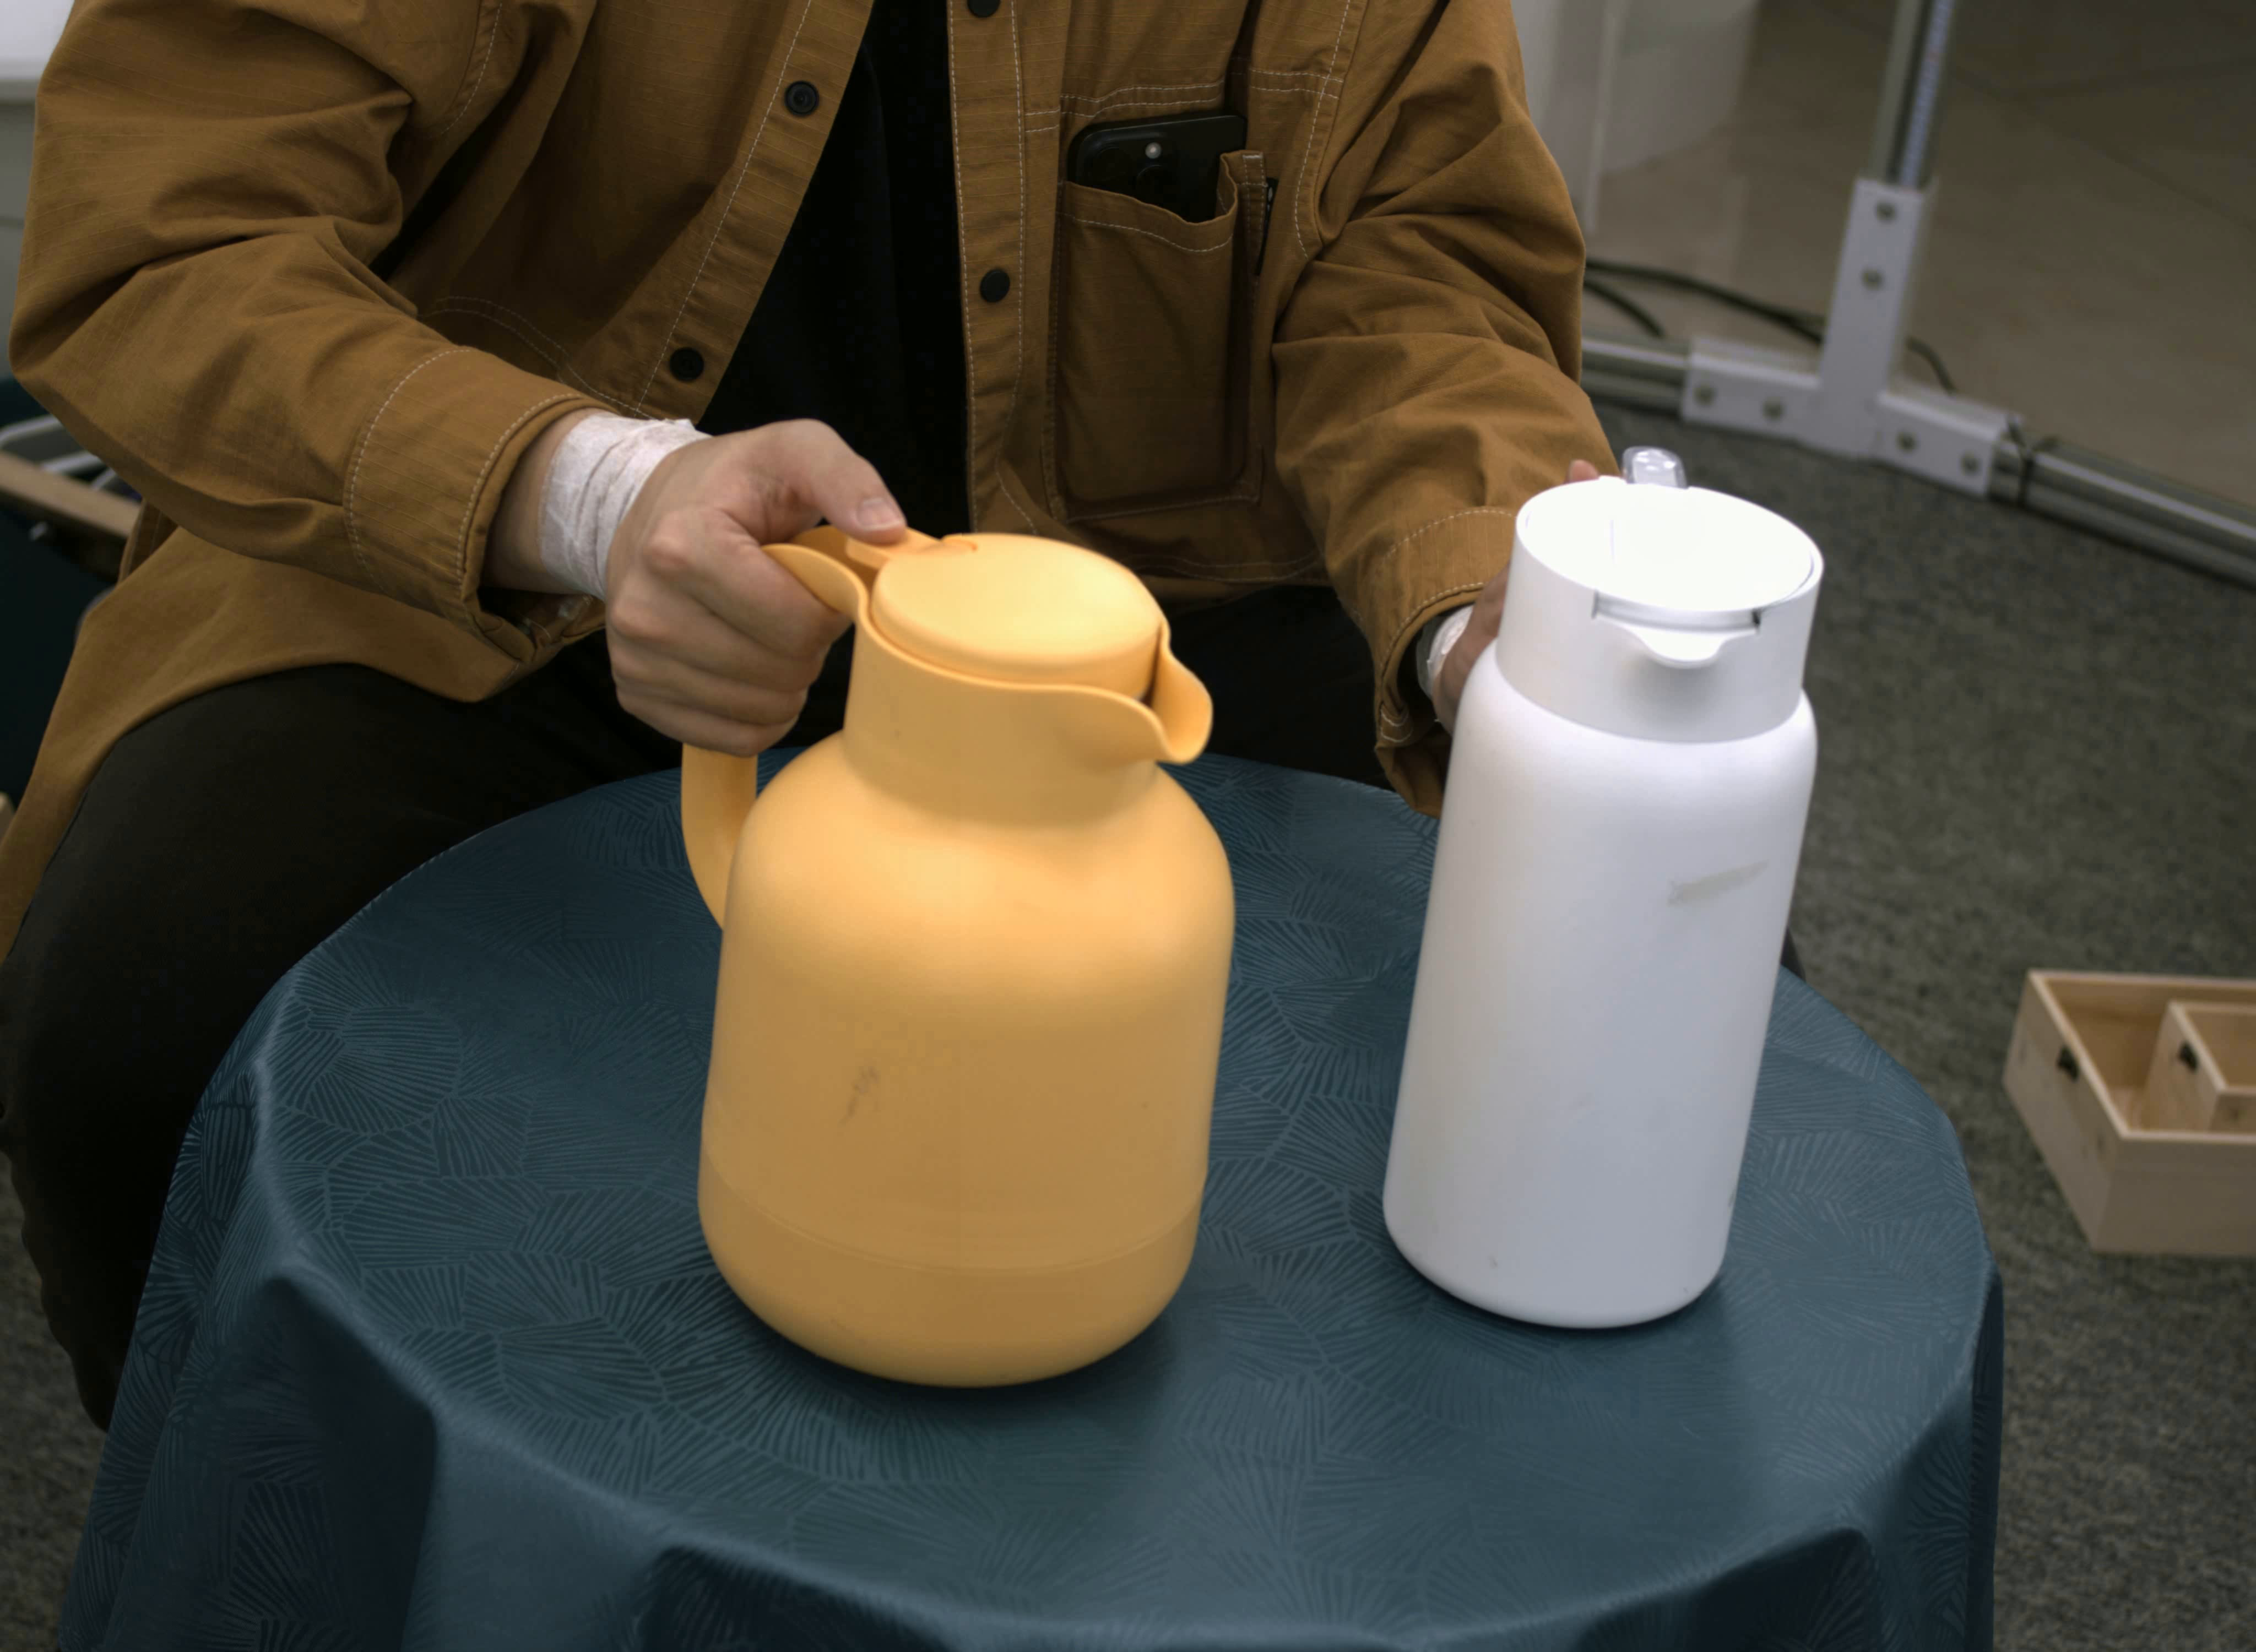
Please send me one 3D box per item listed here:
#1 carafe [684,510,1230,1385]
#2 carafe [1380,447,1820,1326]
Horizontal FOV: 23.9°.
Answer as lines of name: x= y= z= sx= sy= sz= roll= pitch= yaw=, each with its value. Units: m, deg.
carafe: x=-0.062 y=0.028 z=1.691 sx=0.204 sy=0.260 sz=0.162 roll=29 pitch=31 yaw=35
carafe: x=0.155 y=0.016 z=1.757 sx=0.123 sy=0.268 sz=0.174 roll=3 pitch=26 yaw=-2
